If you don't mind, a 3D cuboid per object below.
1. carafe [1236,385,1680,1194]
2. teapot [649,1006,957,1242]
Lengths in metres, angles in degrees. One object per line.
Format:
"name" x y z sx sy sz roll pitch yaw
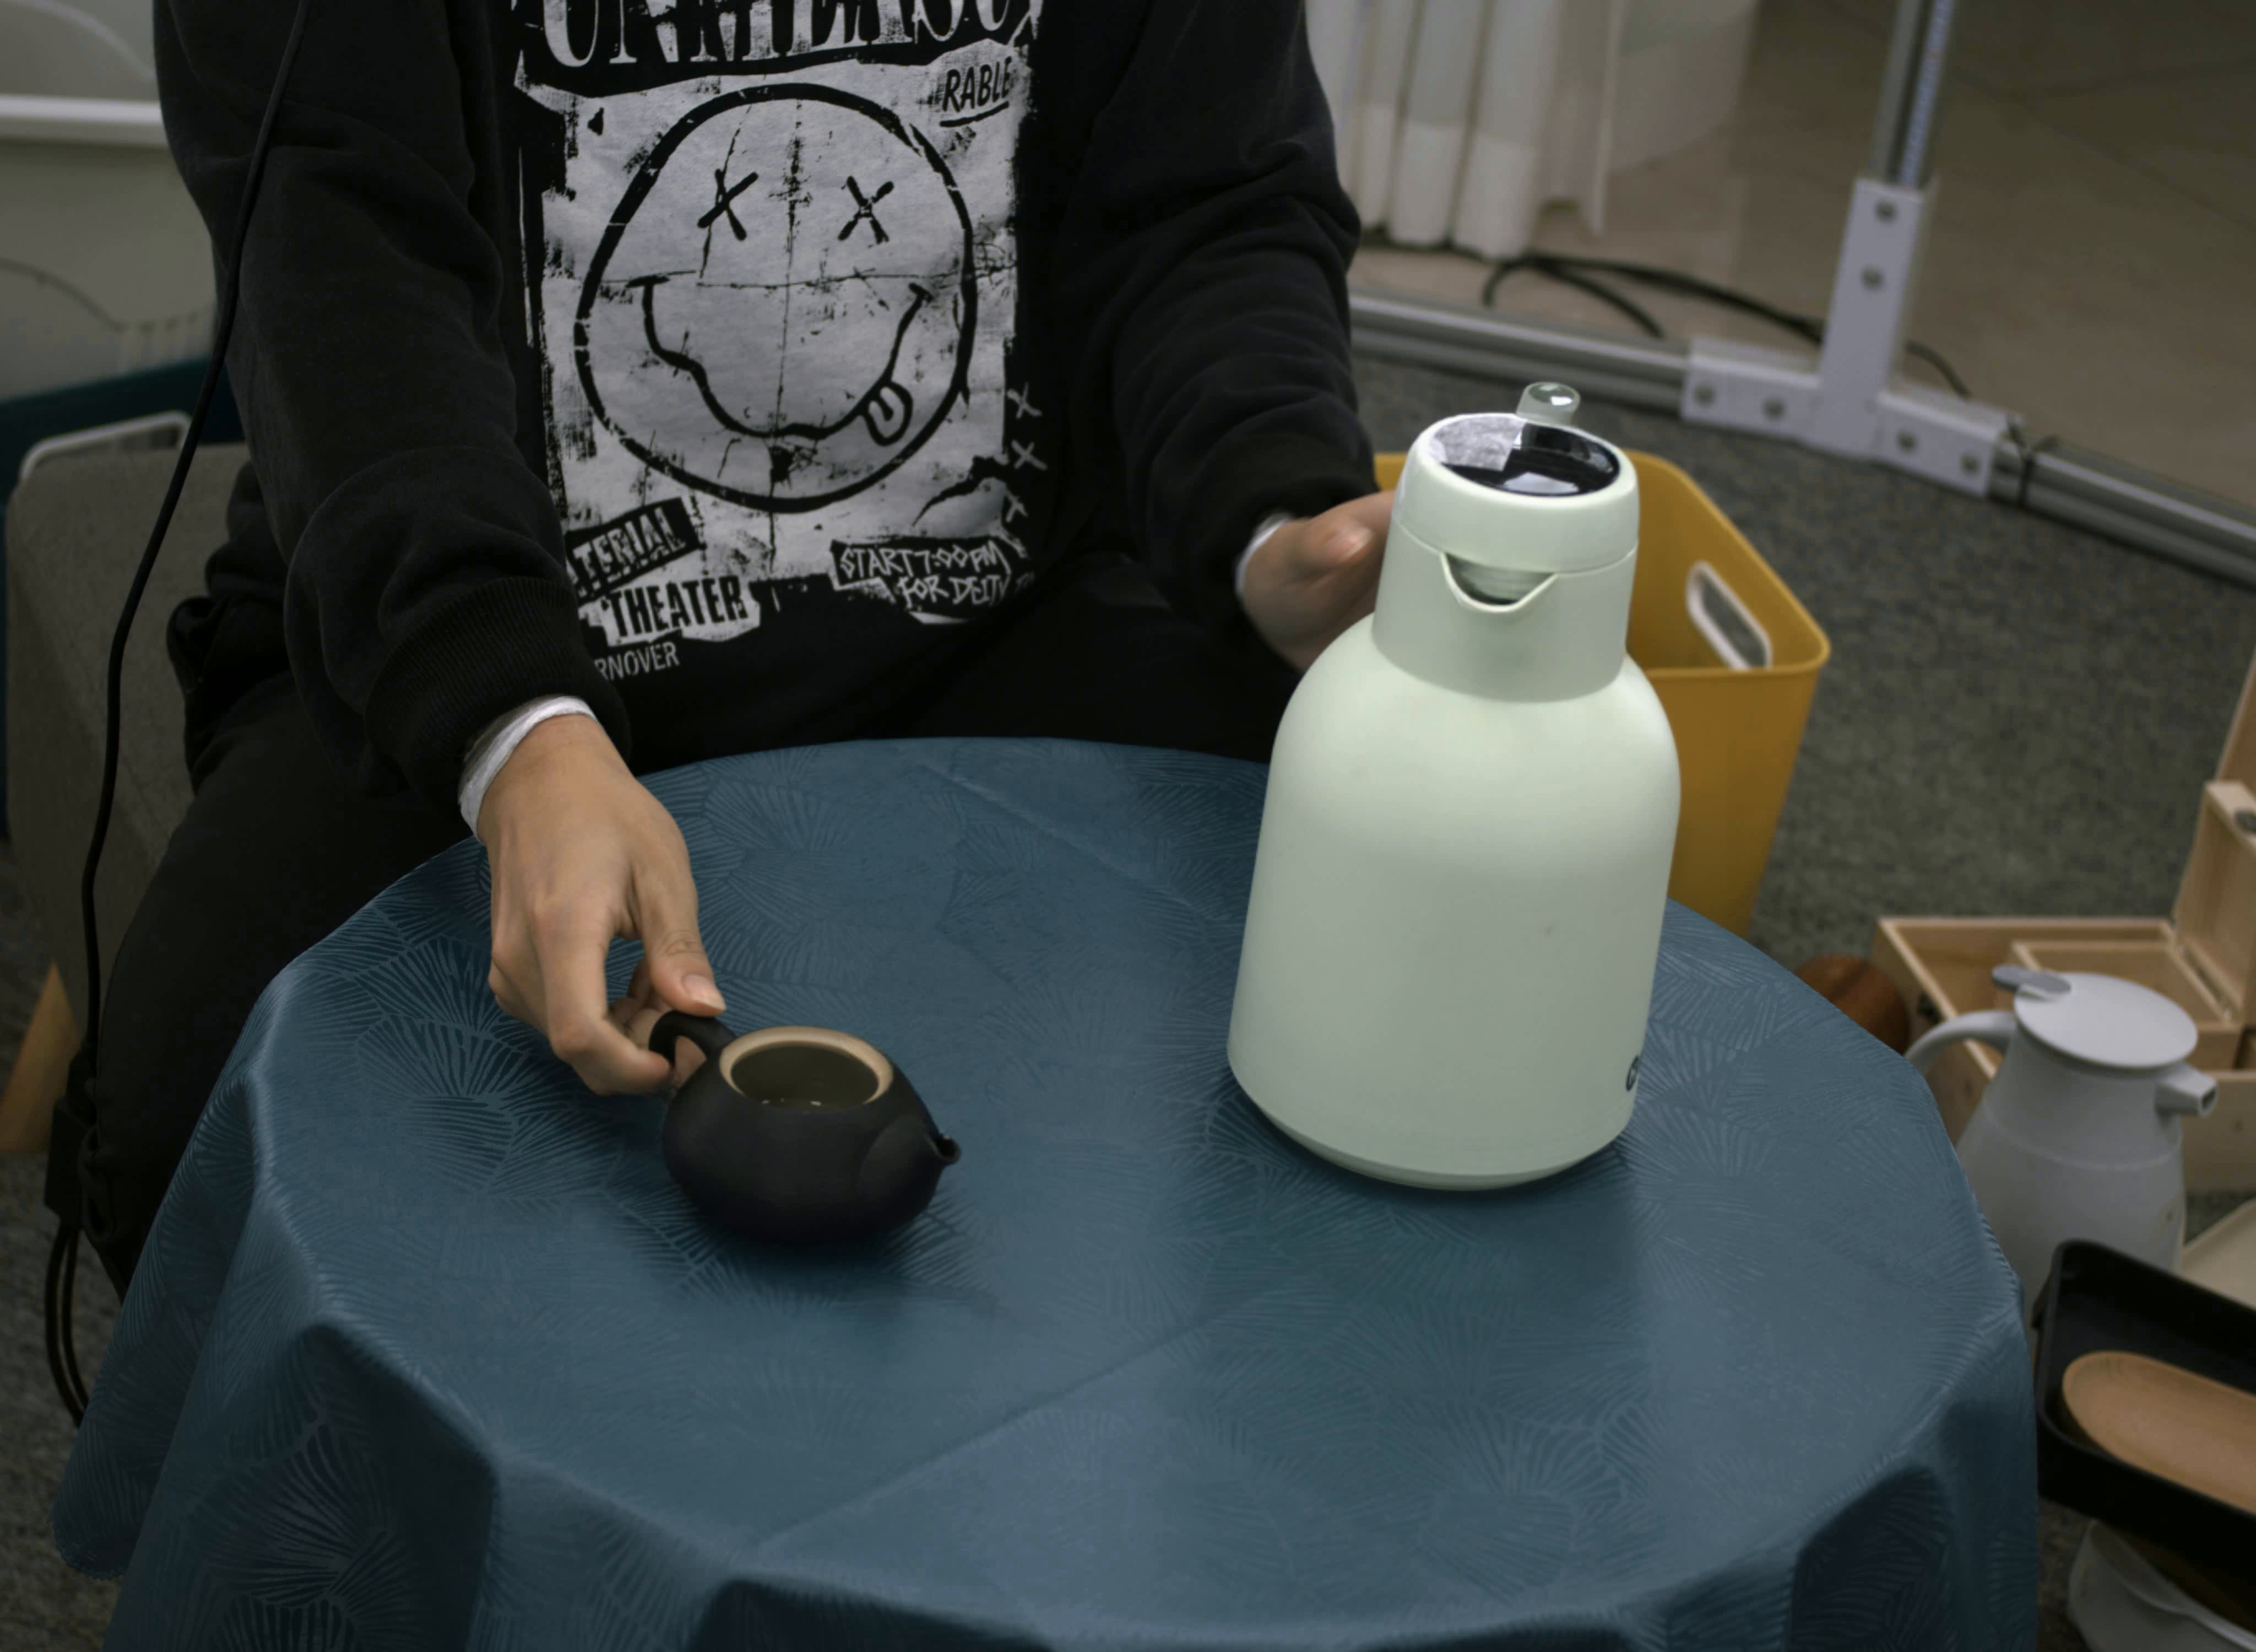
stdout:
"carafe" 0.122 -0.018 1.836 0.144 0.256 0.187 9 23 8
"teapot" -0.110 0.102 1.764 0.134 0.053 0.090 25 30 32
